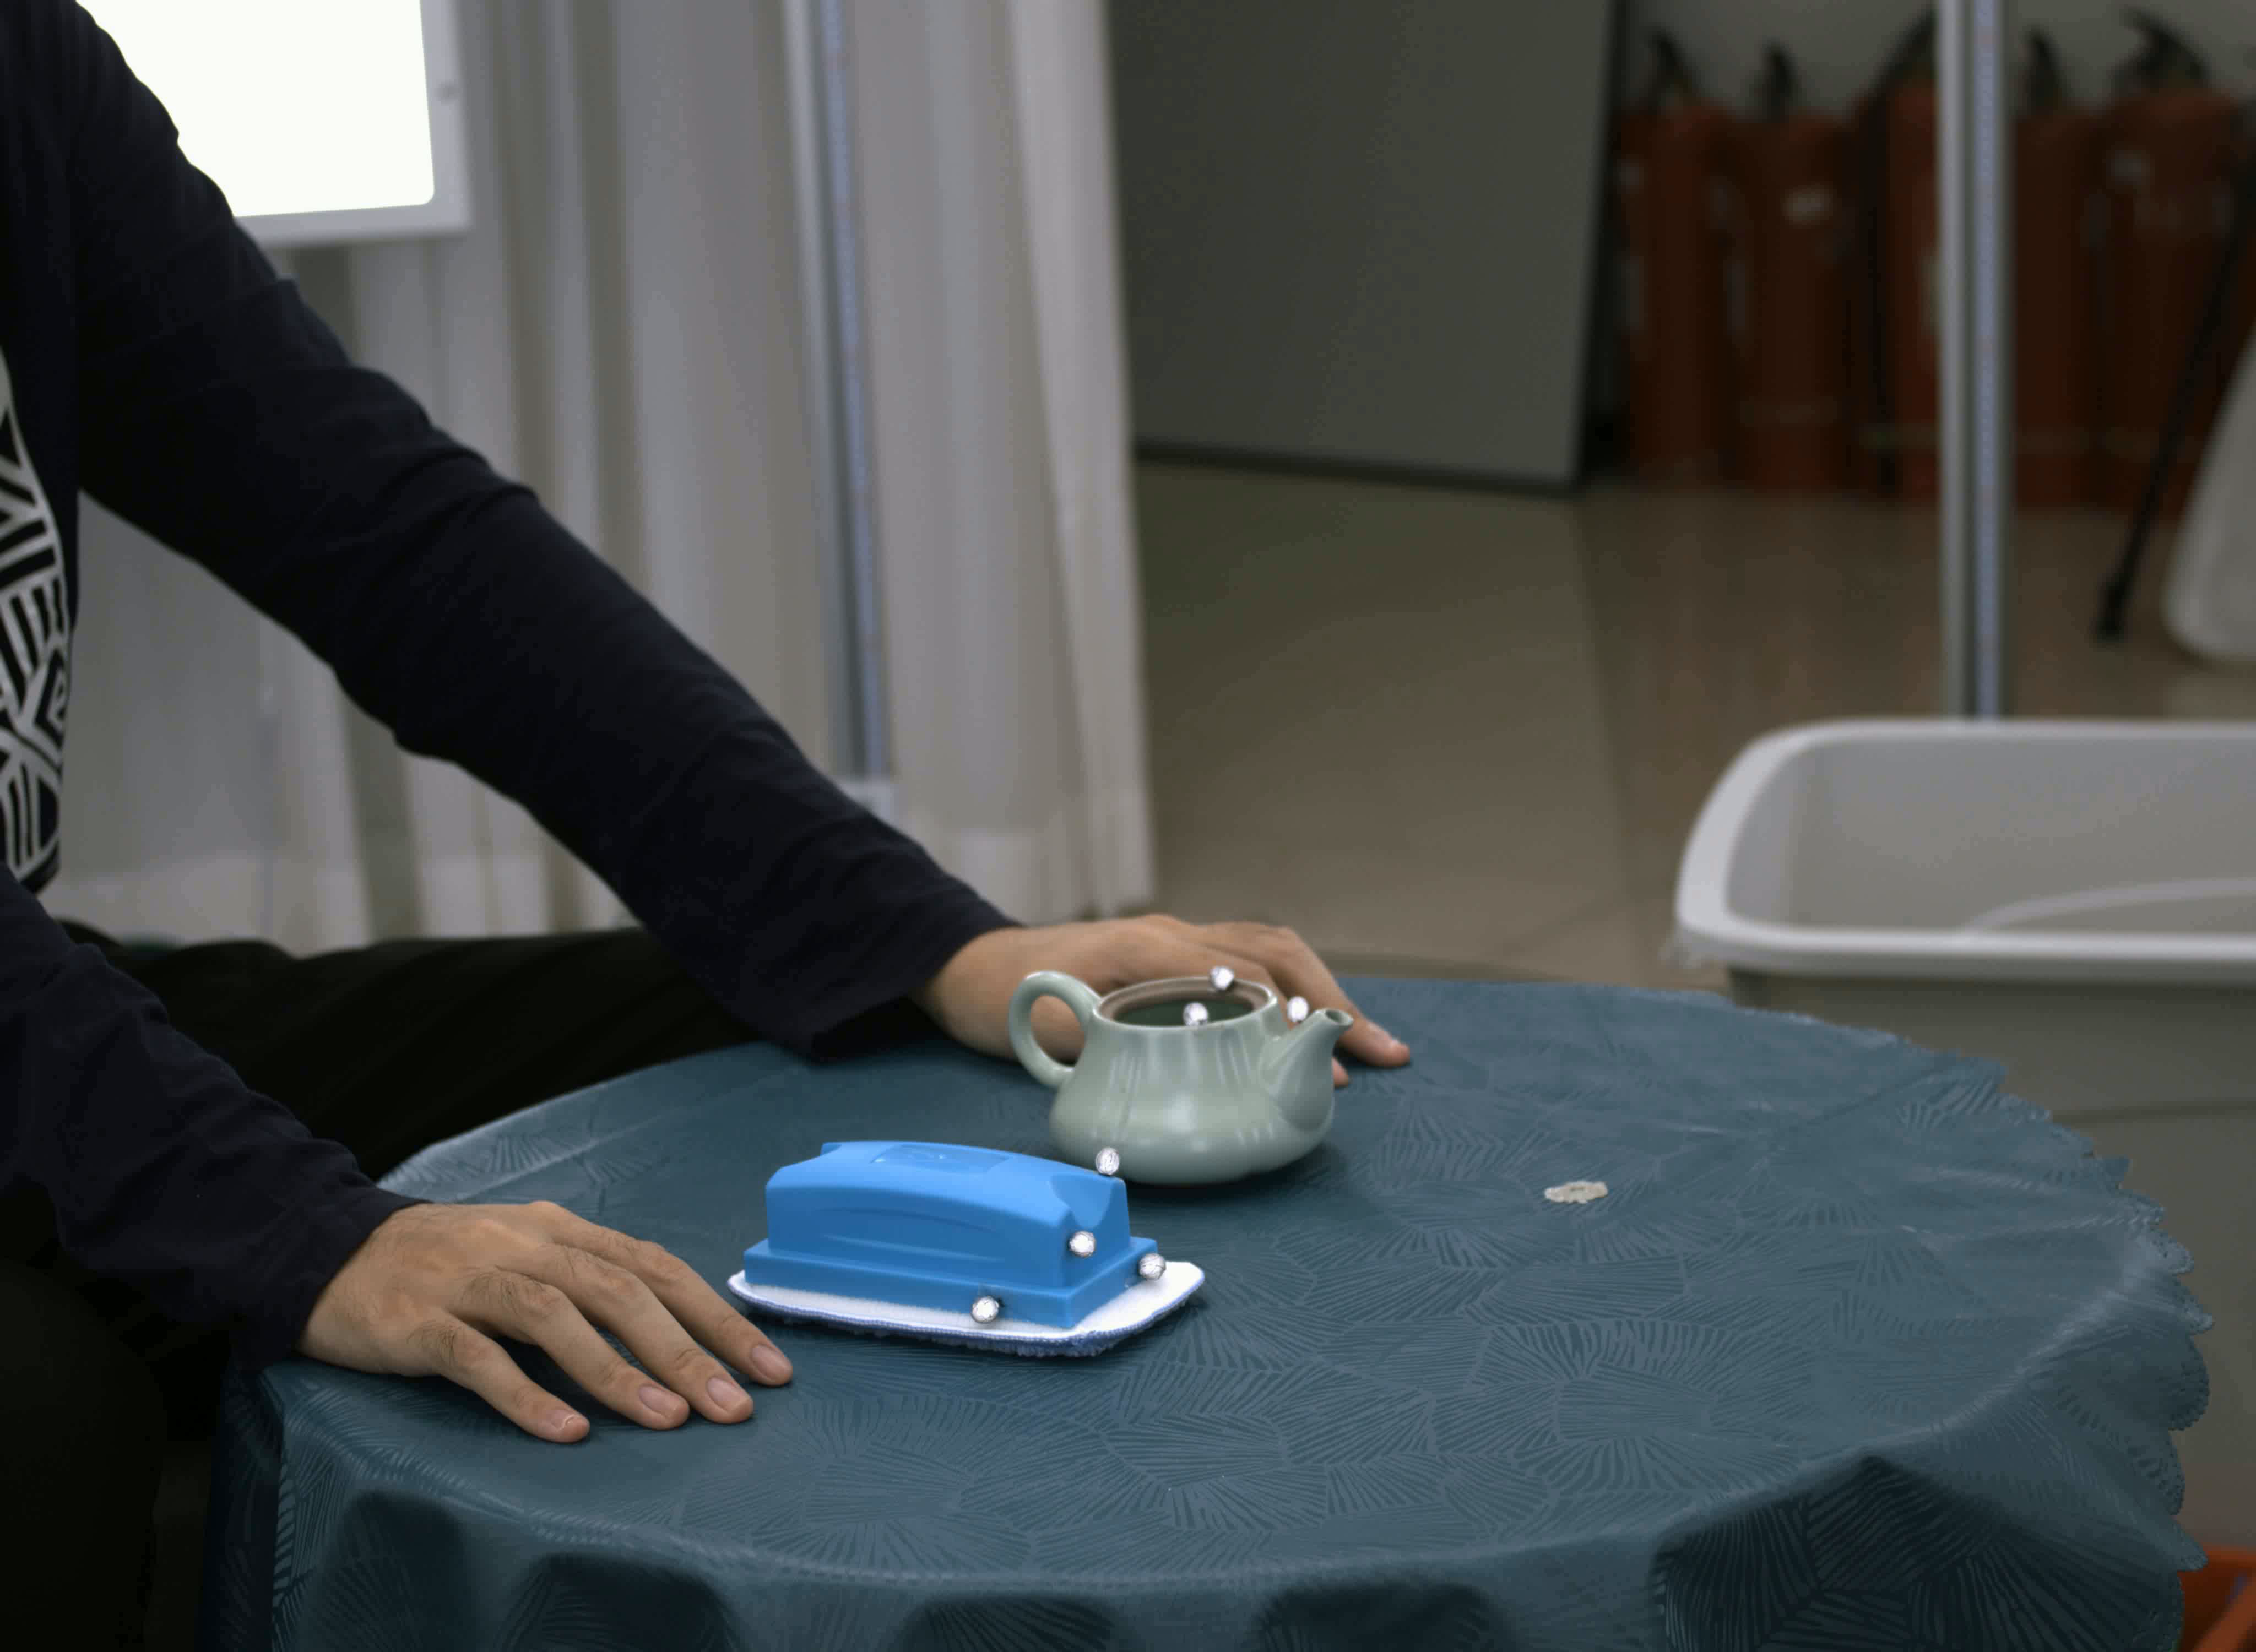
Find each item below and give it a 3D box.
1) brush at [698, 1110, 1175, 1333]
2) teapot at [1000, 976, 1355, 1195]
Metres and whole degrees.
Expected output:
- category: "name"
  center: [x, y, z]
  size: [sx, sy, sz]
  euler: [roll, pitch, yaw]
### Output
- category: "brush"
  center: [-0.059, 0.121, 1.666]
  size: [0.145, 0.056, 0.082]
  euler: [8, 15, 33]
- category: "teapot"
  center: [0.017, 0.085, 1.794]
  size: [0.137, 0.062, 0.094]
  euler: [6, 19, 33]
